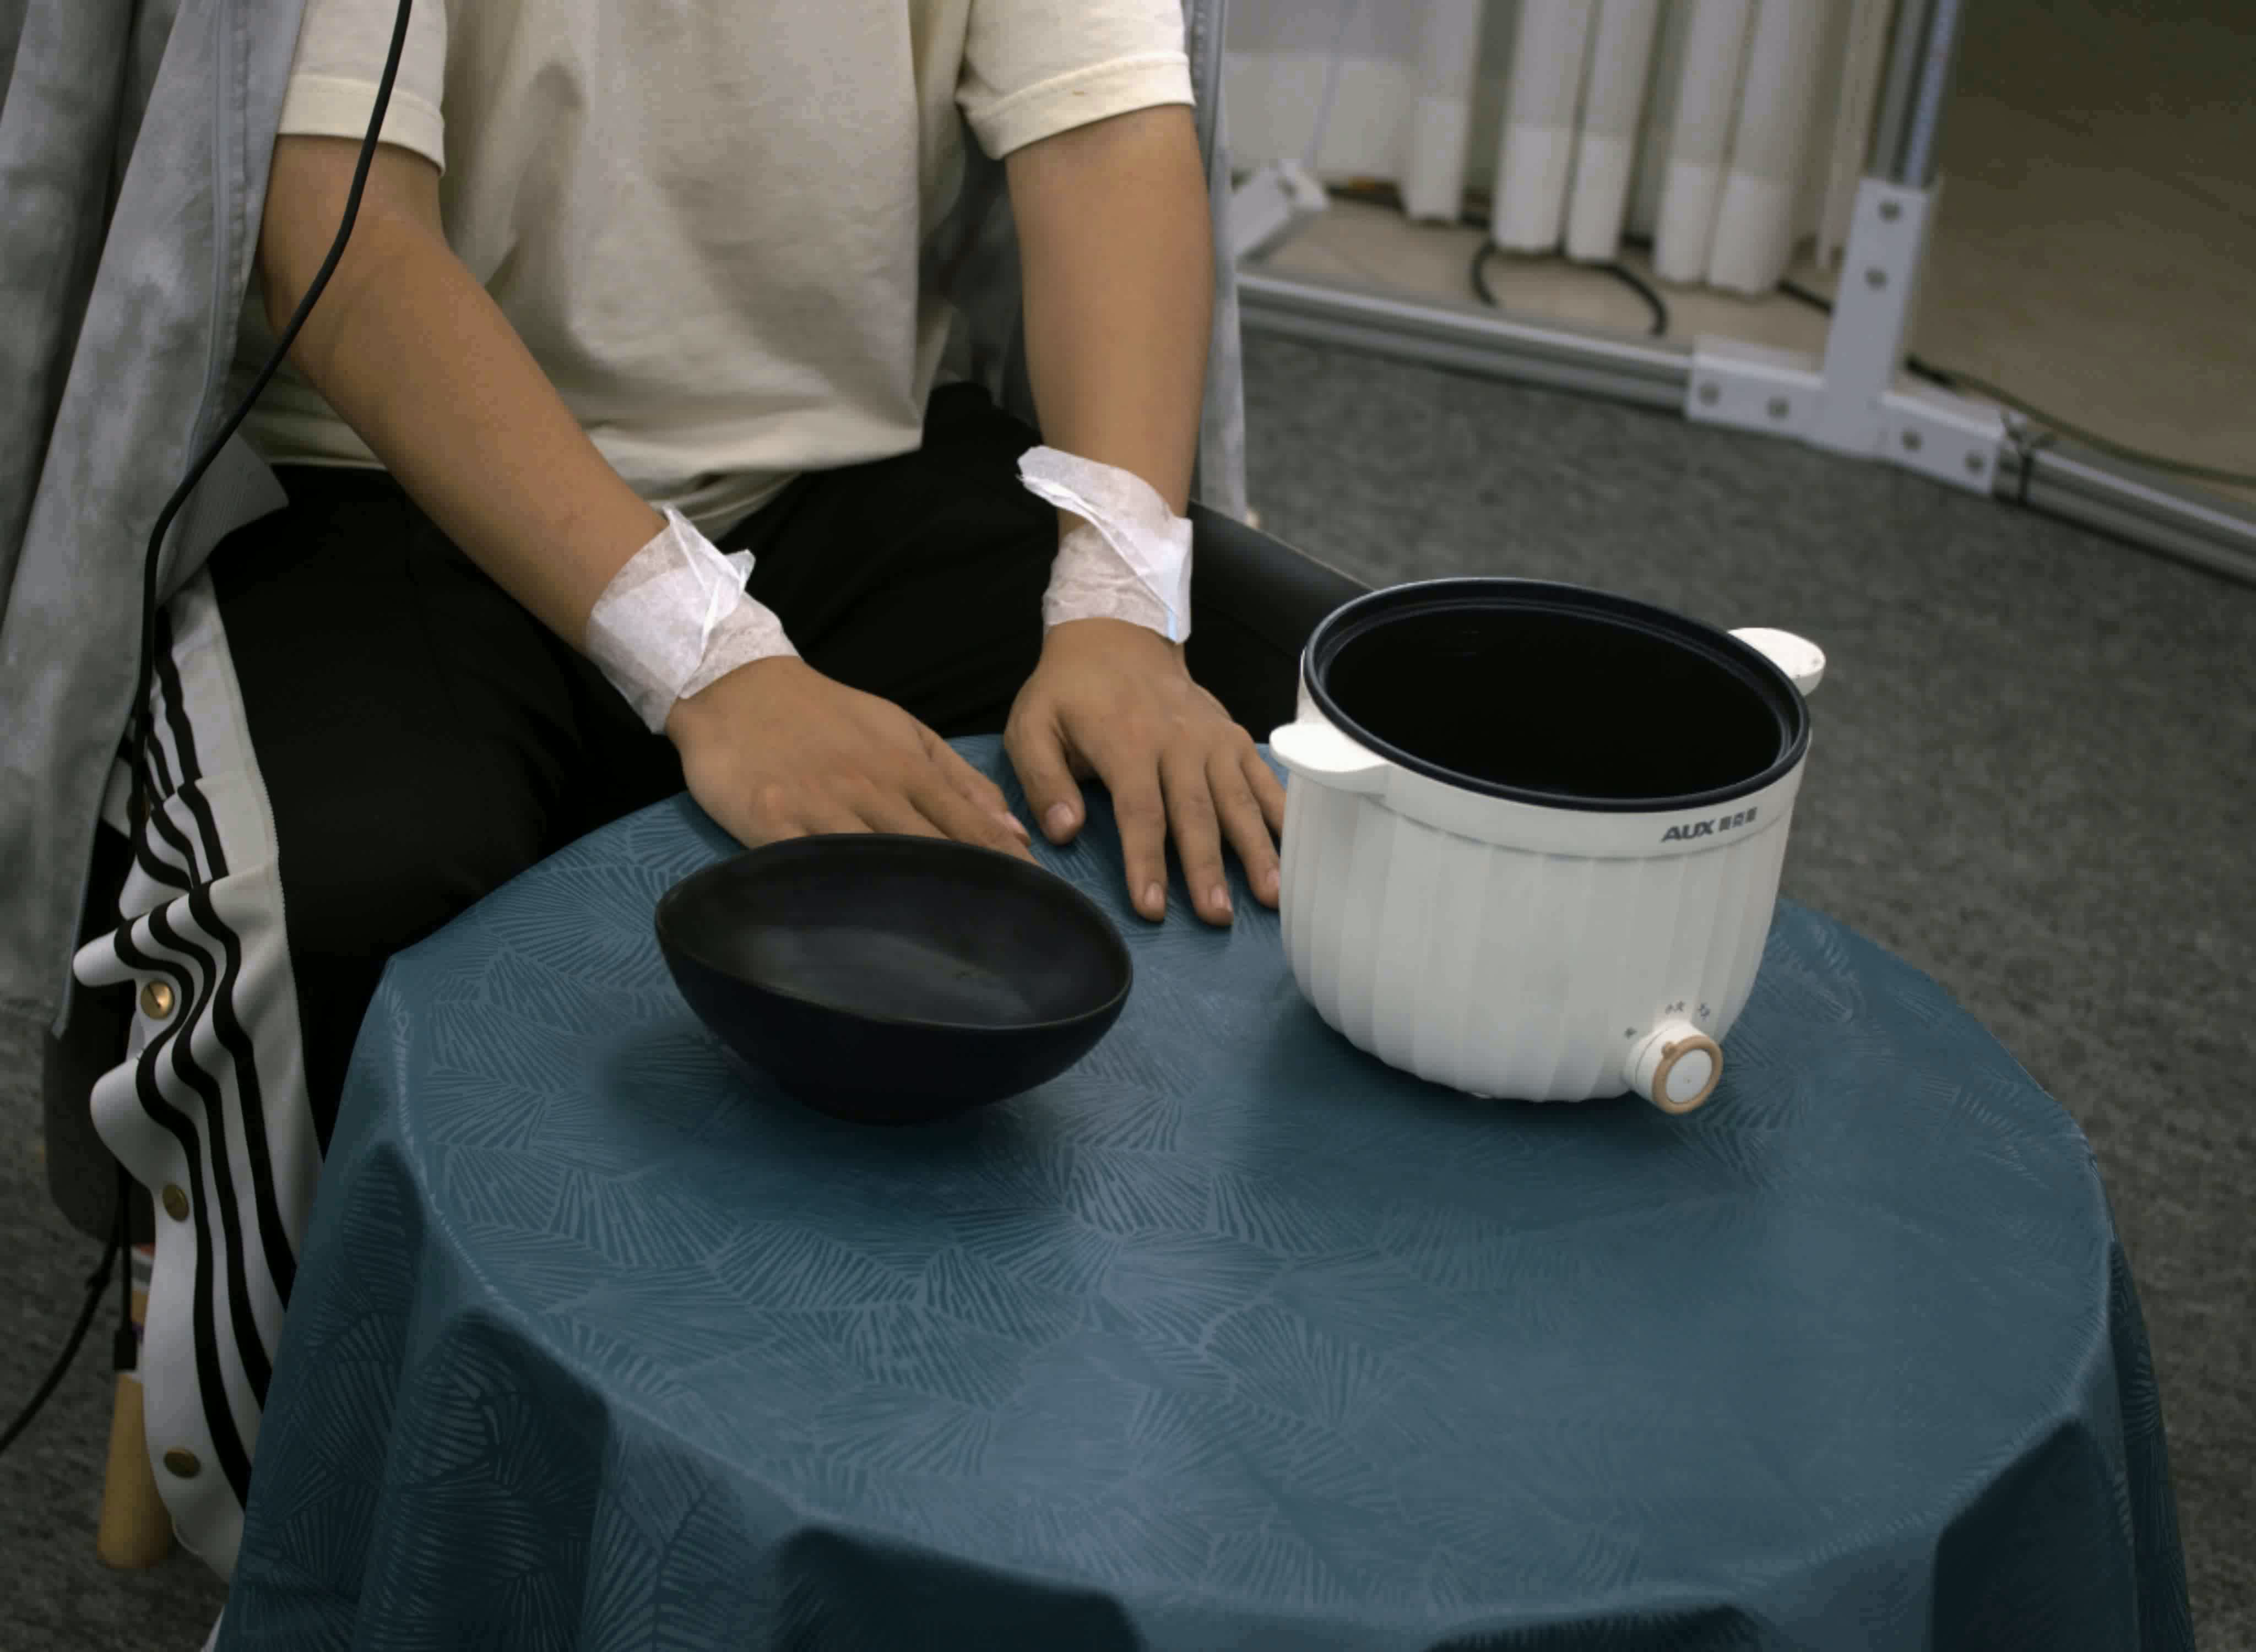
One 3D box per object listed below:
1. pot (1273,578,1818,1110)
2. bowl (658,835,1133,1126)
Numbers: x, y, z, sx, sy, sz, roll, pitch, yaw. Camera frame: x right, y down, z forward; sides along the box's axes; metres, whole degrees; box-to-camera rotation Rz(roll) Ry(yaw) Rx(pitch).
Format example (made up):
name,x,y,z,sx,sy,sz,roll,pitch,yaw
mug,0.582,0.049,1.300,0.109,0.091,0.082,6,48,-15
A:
name,x,y,z,sx,sy,sz,roll,pitch,yaw
pot,0.149,0.011,1.907,0.239,0.142,0.192,-13,29,-32
bowl,-0.084,0.061,1.839,0.170,0.066,0.137,13,26,14
